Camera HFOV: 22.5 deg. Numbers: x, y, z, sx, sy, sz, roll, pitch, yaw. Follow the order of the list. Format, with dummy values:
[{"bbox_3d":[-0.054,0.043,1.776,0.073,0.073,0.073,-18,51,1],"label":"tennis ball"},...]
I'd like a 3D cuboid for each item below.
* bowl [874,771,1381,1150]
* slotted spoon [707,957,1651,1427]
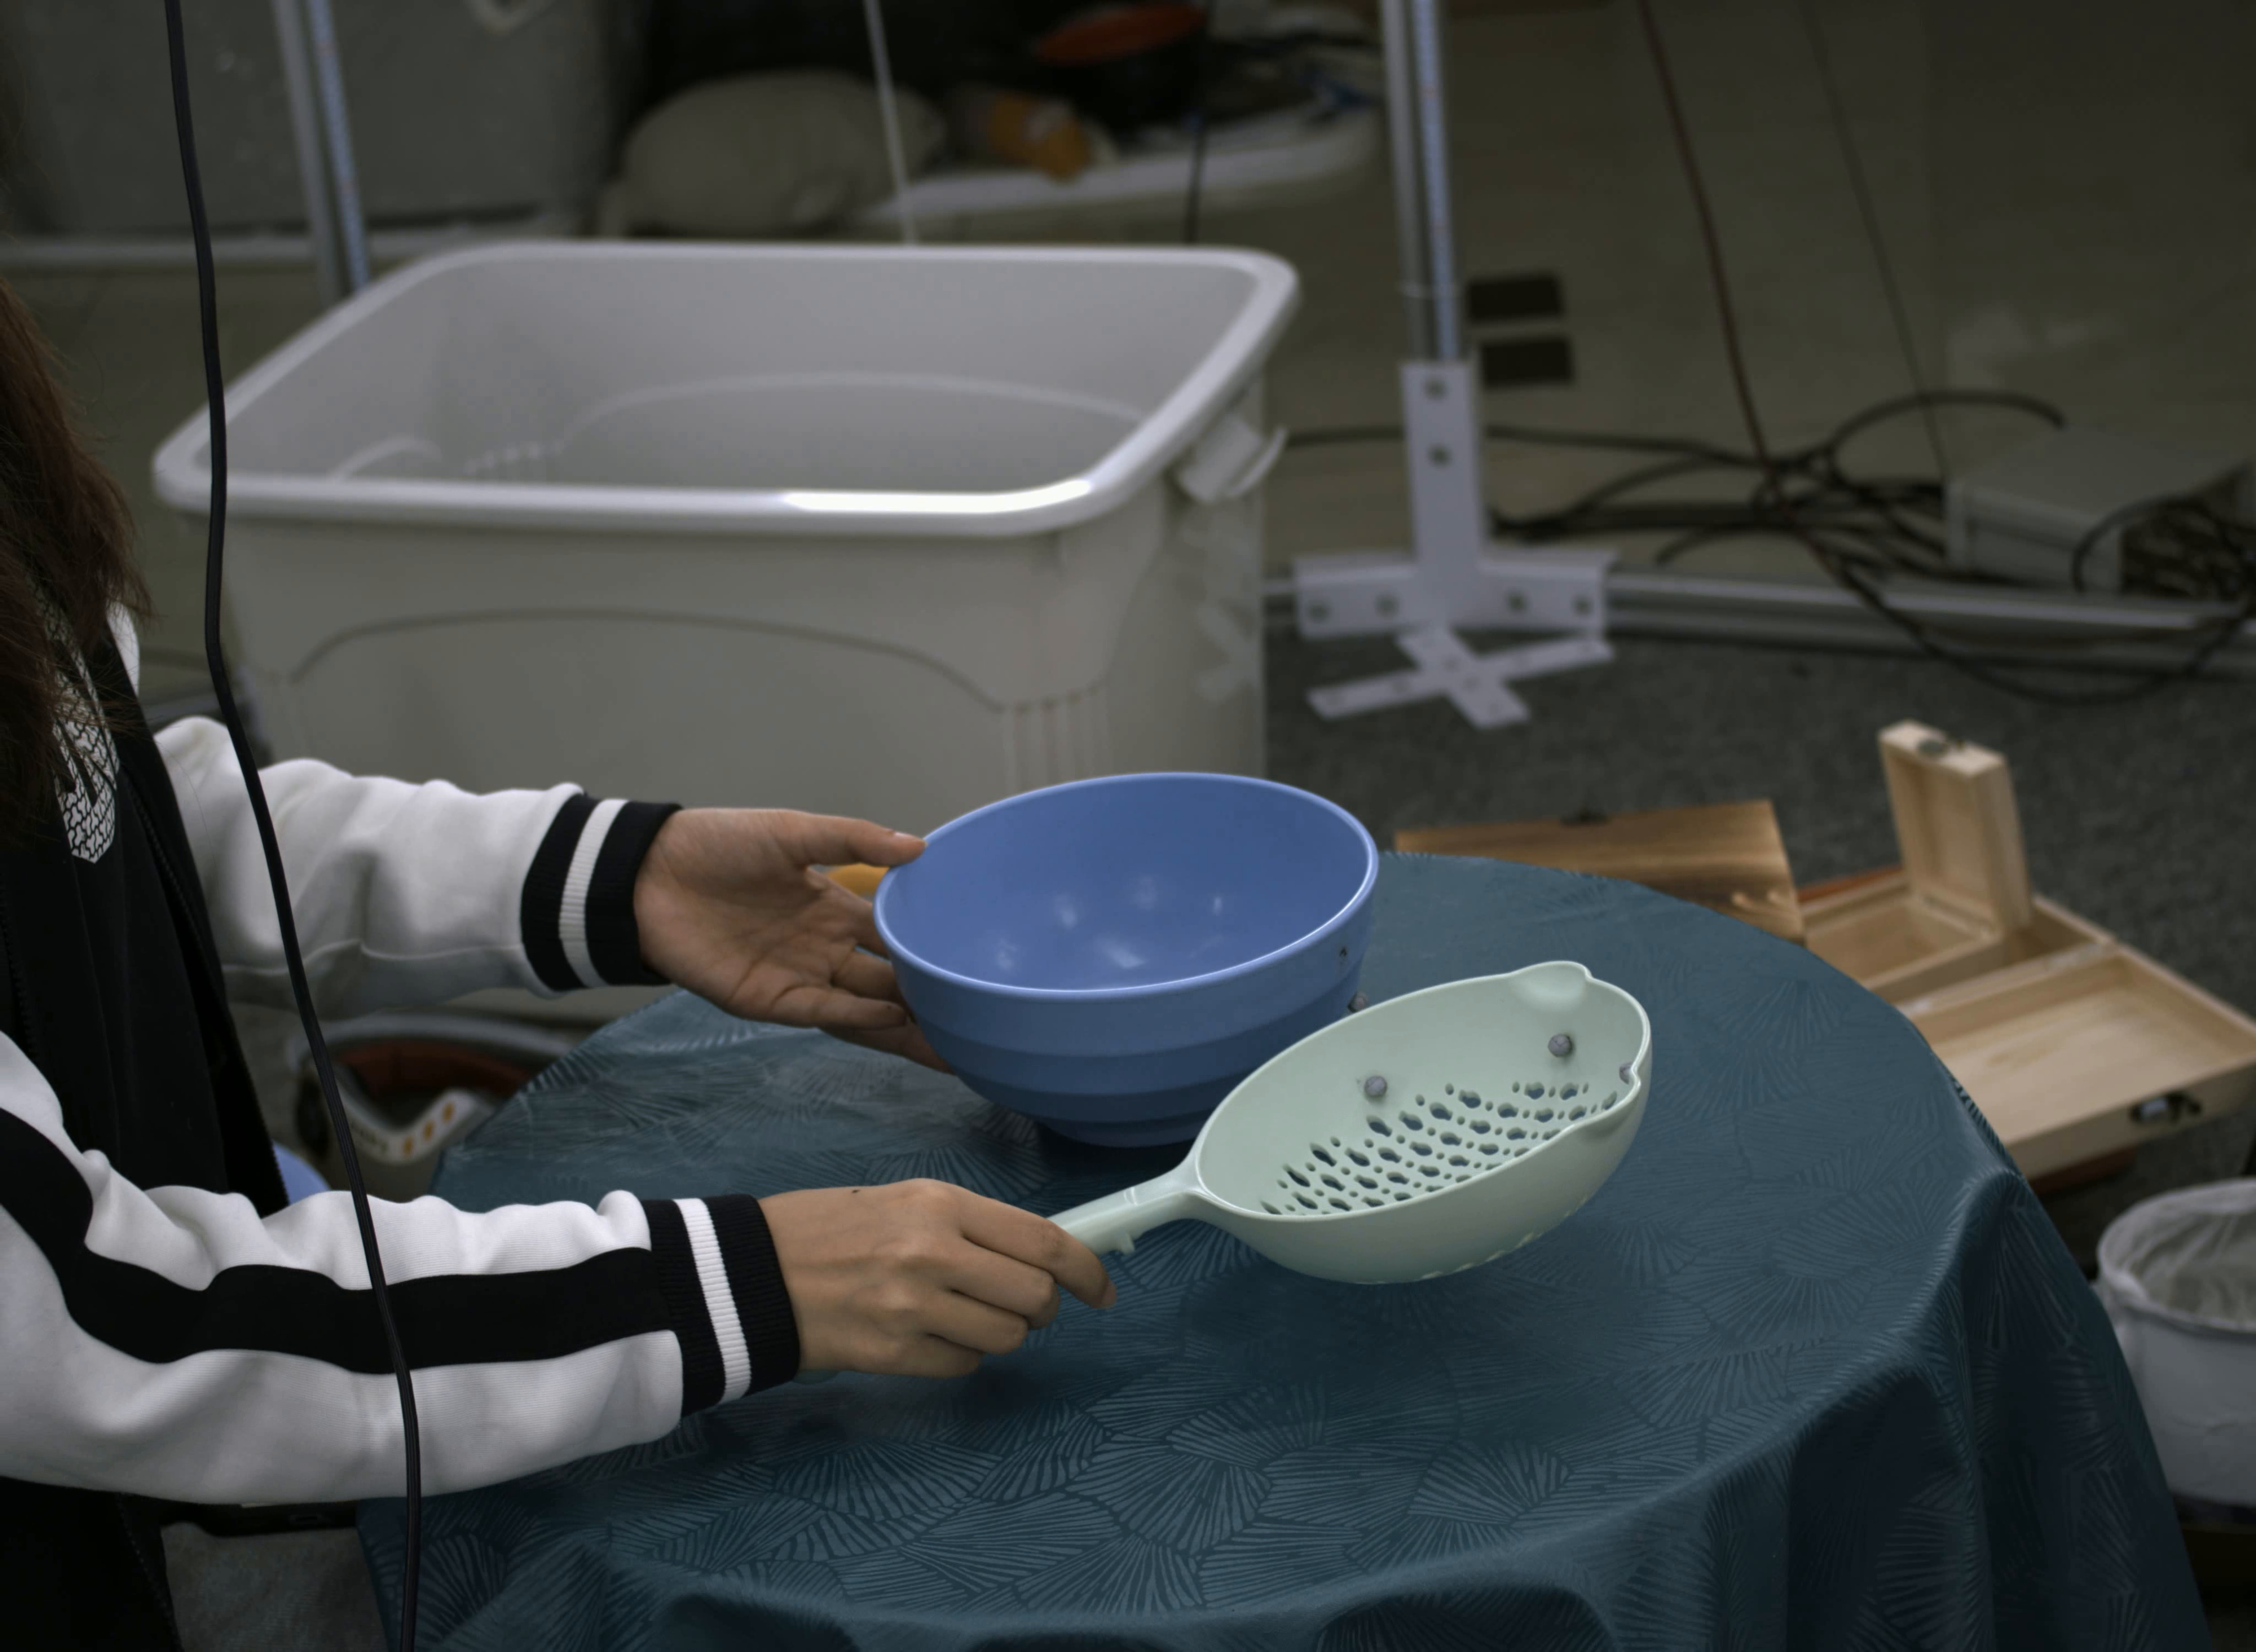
[{"bbox_3d":[0.004,0.063,2.198,0.196,0.097,0.193,-6,26,3],"label":"bowl"},{"bbox_3d":[0.016,0.140,2.020,0.358,0.076,0.167,-13,21,0],"label":"slotted spoon"}]
